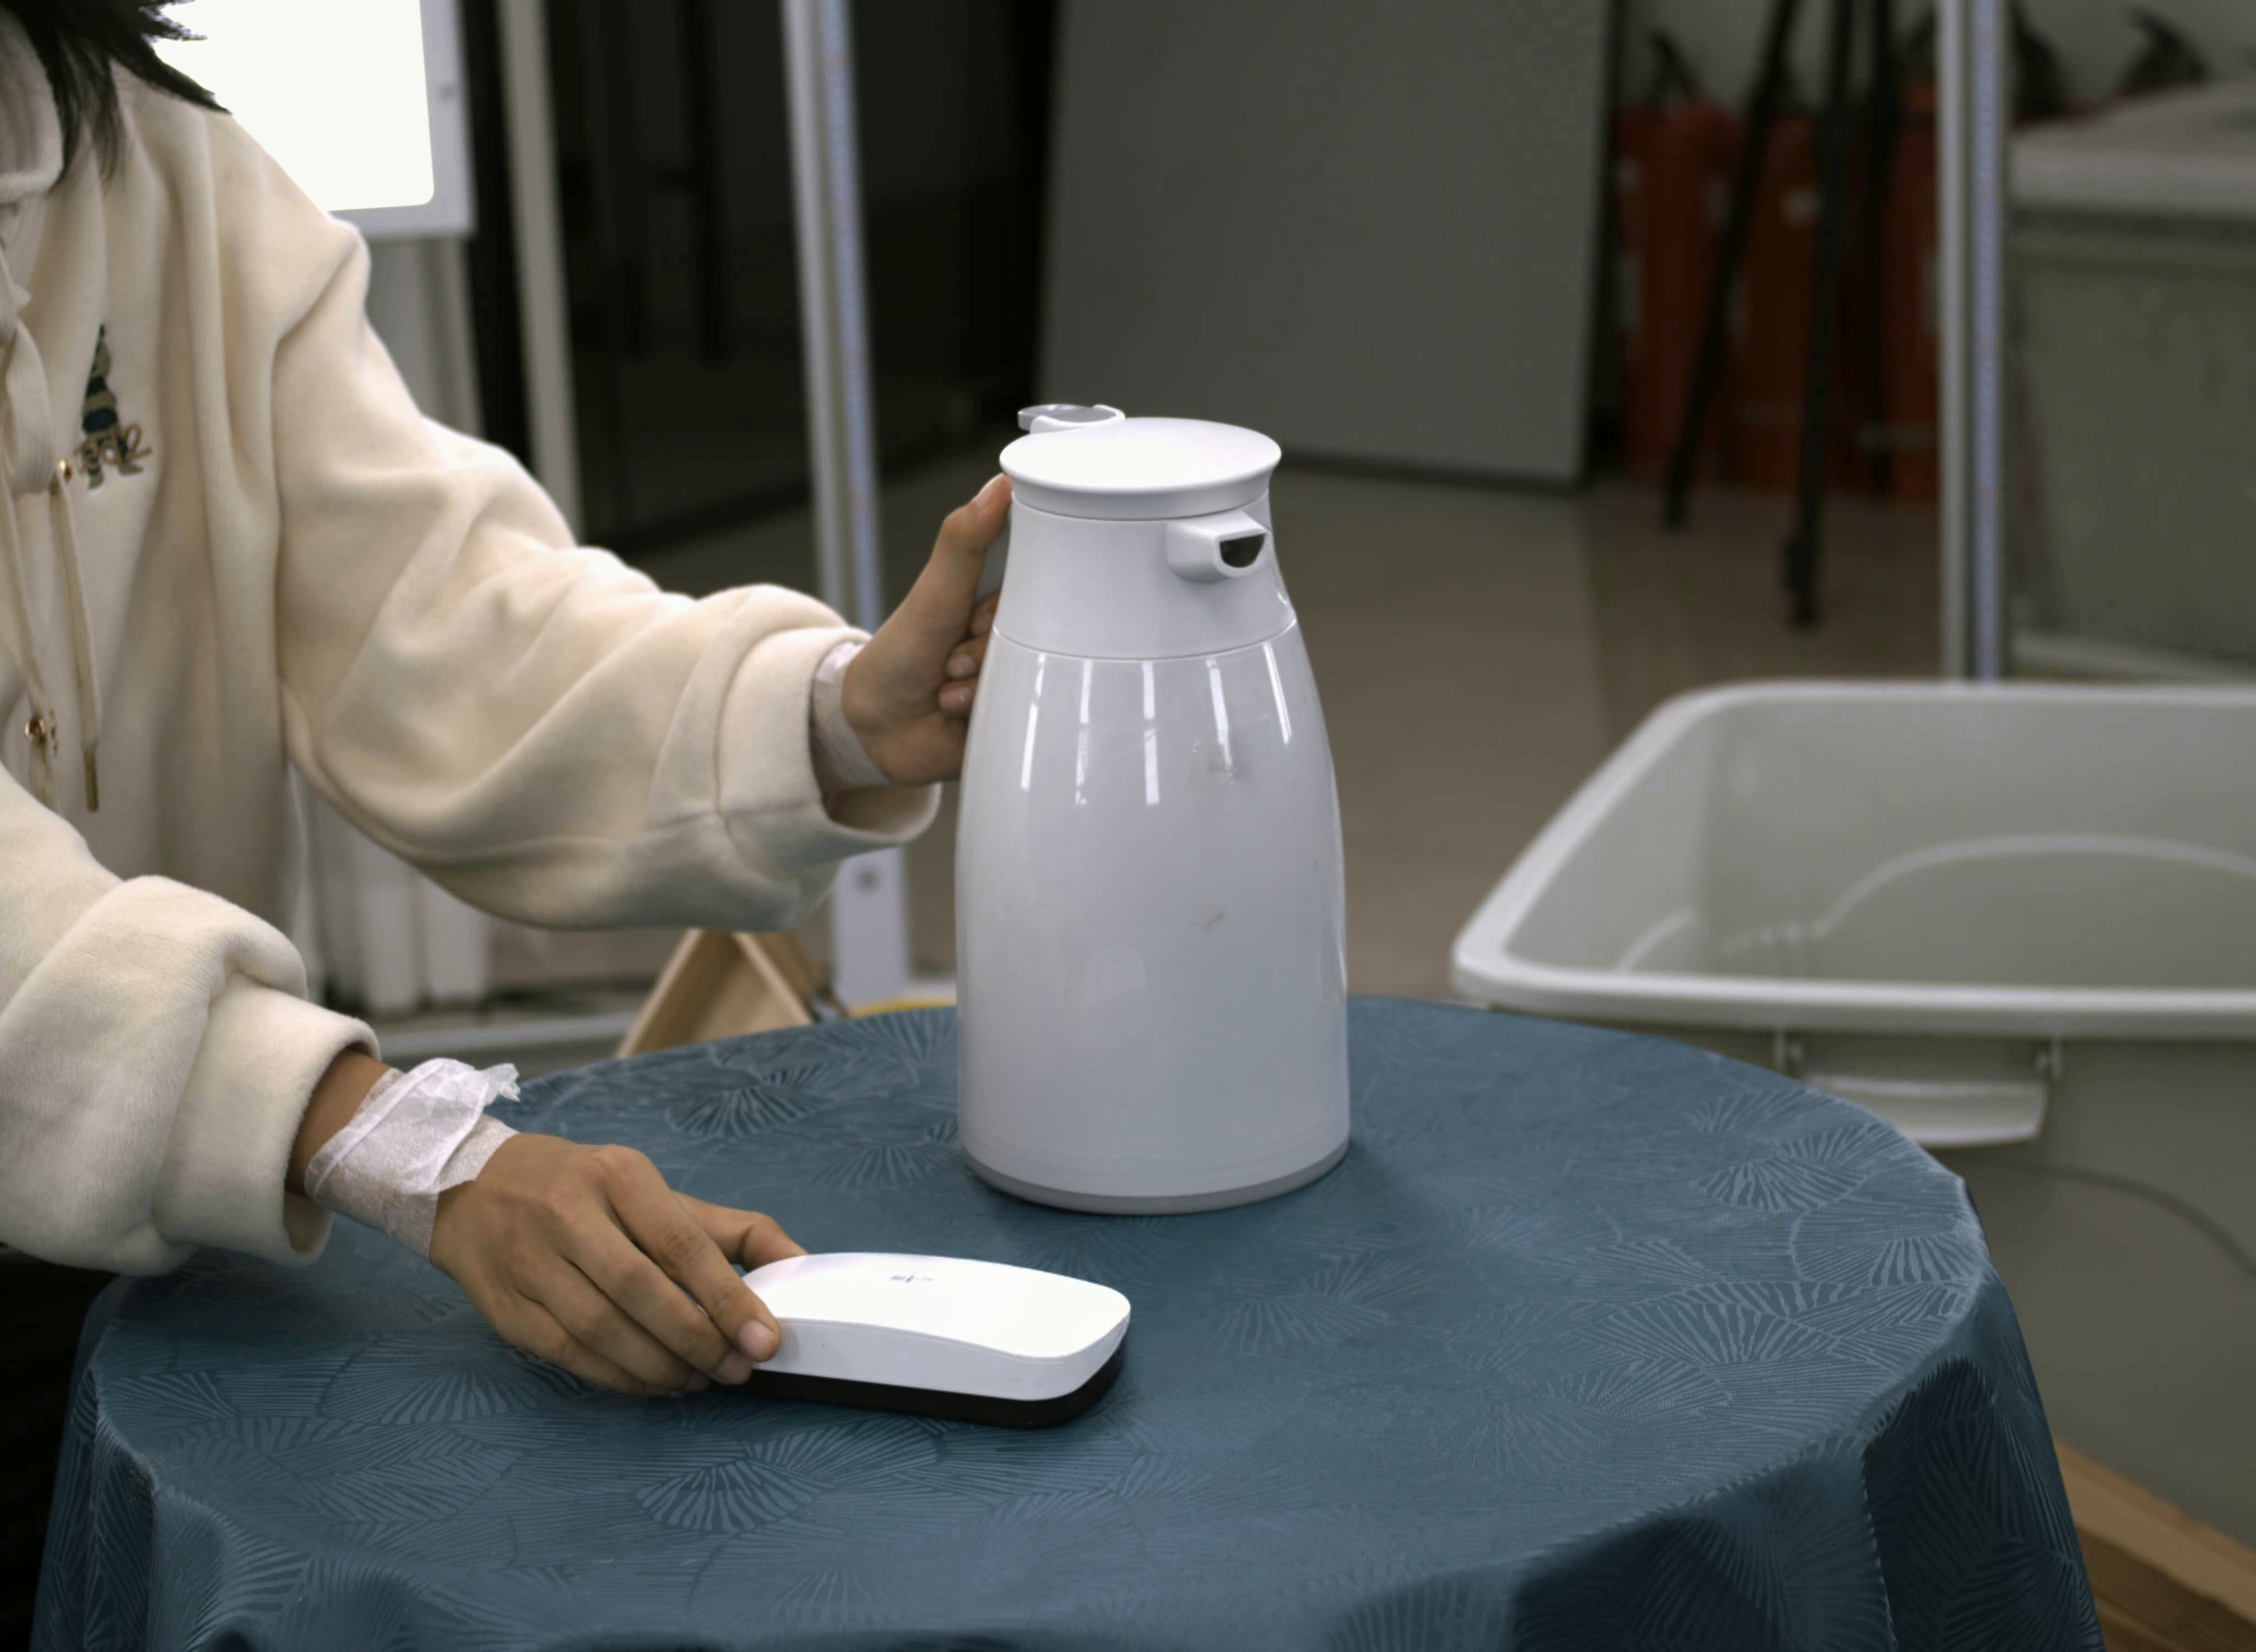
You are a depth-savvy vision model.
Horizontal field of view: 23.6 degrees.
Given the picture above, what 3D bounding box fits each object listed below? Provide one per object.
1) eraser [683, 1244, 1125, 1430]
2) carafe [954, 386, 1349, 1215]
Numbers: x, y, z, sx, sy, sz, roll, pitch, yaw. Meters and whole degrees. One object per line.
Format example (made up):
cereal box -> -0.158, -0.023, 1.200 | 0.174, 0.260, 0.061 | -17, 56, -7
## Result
eraser -> -0.066, 0.151, 1.603 | 0.131, 0.035, 0.062 | 4, 13, 28
carafe -> -0.005, -0.017, 1.784 | 0.129, 0.251, 0.169 | -12, 19, -29
